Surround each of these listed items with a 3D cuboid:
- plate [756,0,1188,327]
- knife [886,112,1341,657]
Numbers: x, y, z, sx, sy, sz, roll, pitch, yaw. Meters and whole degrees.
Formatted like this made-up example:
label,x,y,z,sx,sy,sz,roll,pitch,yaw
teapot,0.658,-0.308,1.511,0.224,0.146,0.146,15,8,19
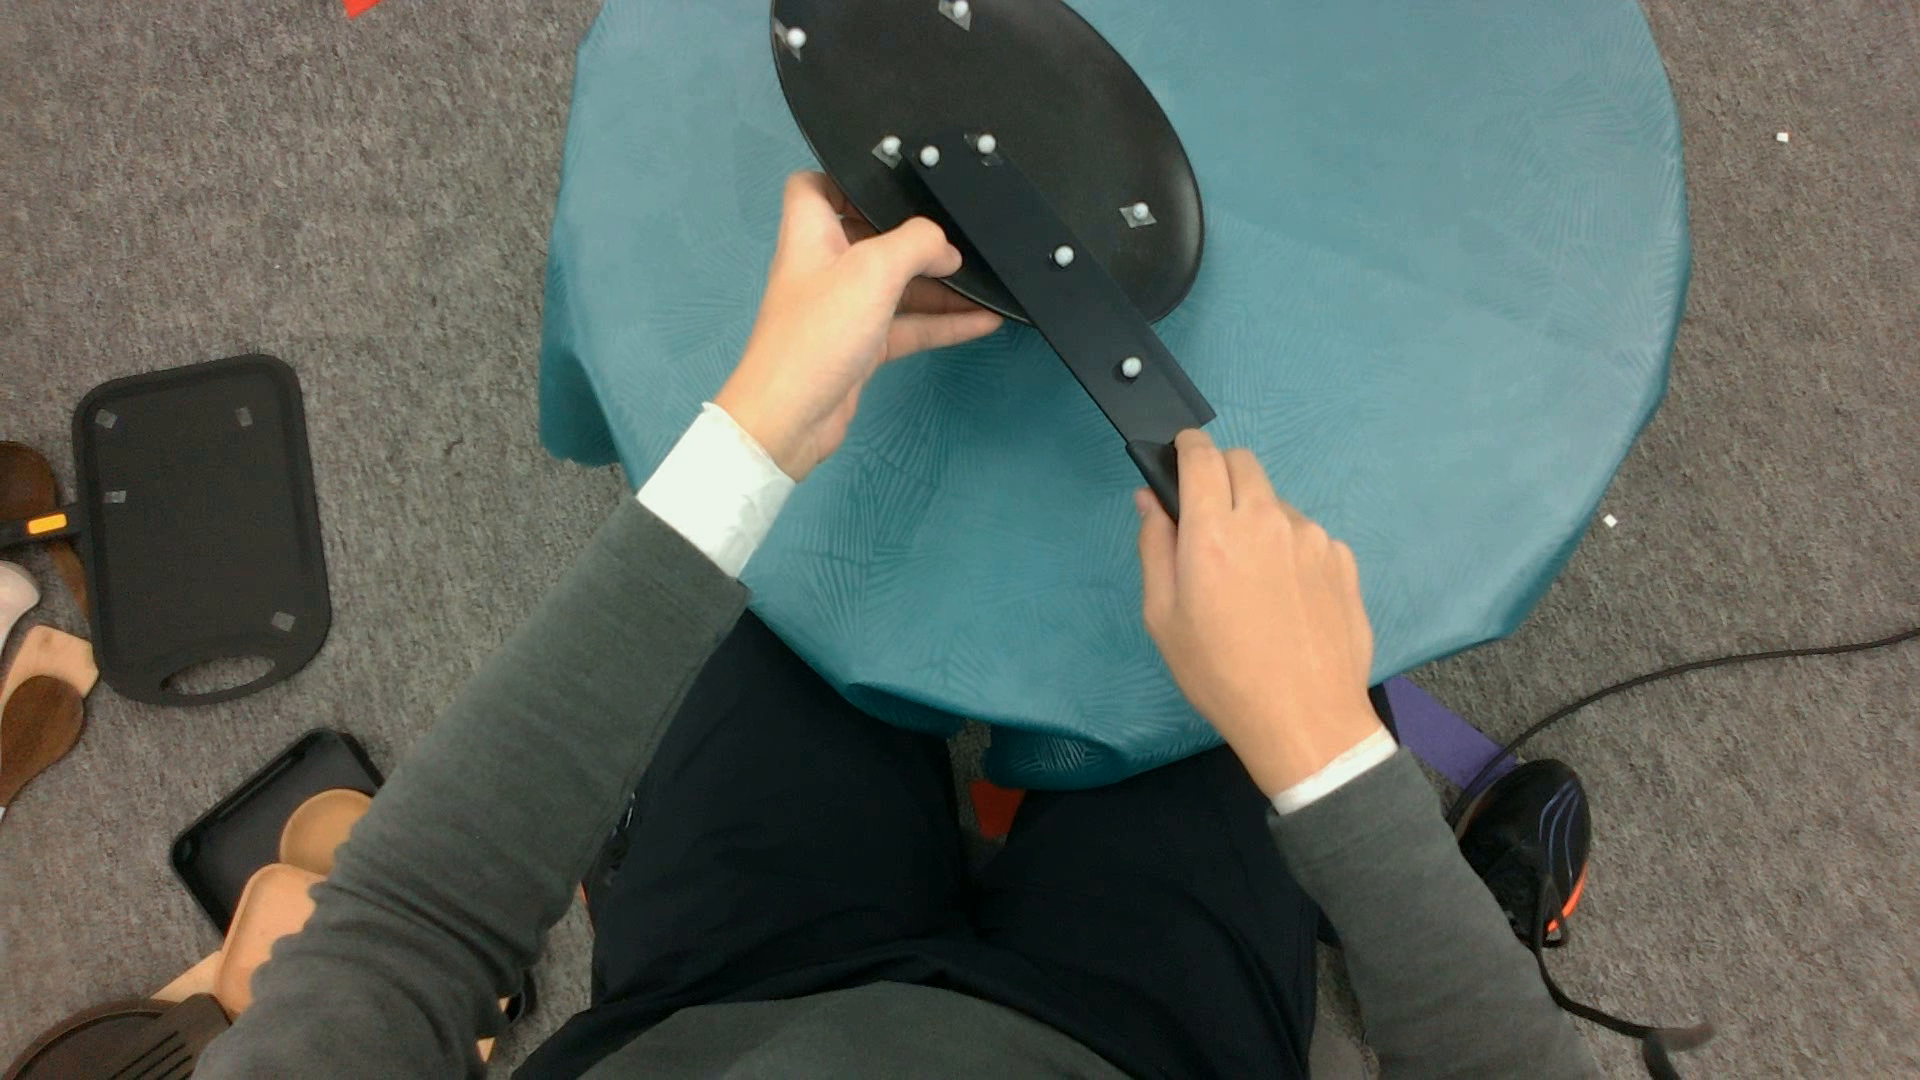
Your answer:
label,x,y,z,sx,sy,sz,roll,pitch,yaw
plate,0.010,-0.201,0.668,0.244,0.023,0.245,18,53,-26
knife,0.073,-0.074,0.618,0.081,0.021,0.302,-27,79,-43
